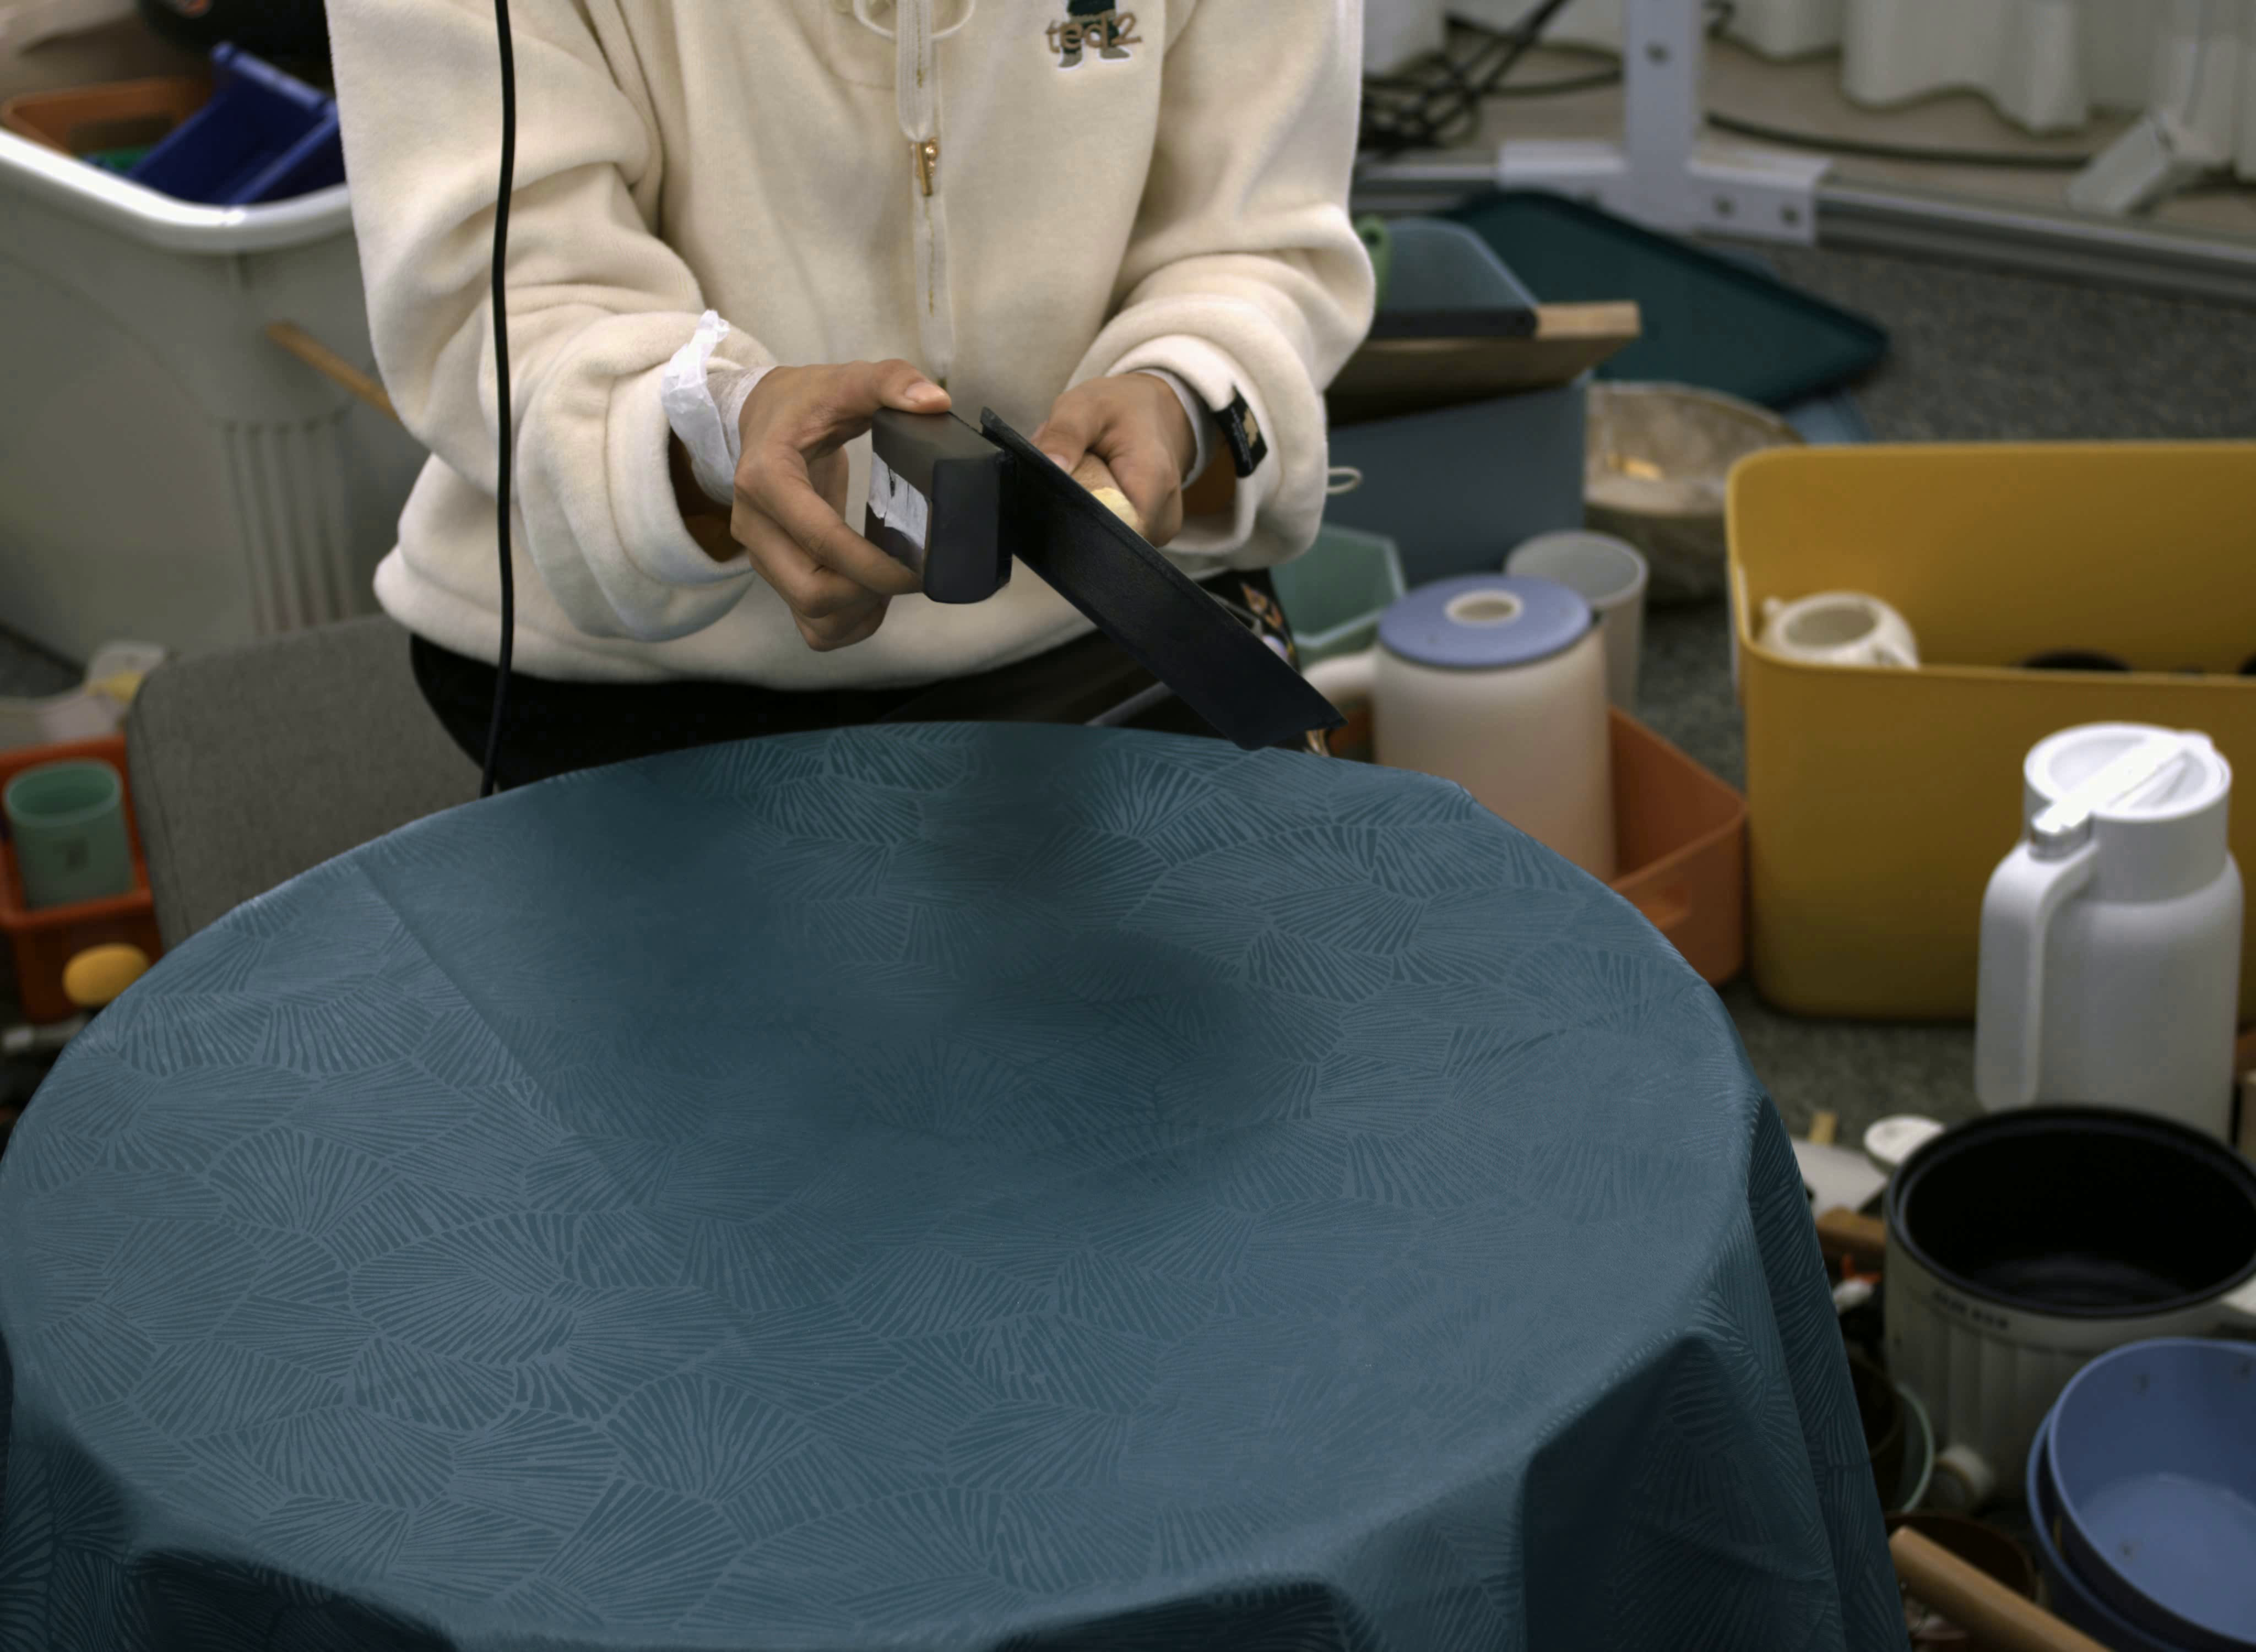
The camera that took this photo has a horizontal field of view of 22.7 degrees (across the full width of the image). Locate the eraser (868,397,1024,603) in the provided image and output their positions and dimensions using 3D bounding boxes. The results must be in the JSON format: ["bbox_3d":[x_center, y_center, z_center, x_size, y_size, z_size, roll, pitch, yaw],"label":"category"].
[{"bbox_3d":[-0.063,-0.111,1.906,0.030,0.053,0.126,4,10,-13],"label":"eraser"}]

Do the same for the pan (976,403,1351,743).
[{"bbox_3d":[-0.004,-0.100,2.017,0.049,0.168,0.325,-50,13,2],"label":"pan"}]
